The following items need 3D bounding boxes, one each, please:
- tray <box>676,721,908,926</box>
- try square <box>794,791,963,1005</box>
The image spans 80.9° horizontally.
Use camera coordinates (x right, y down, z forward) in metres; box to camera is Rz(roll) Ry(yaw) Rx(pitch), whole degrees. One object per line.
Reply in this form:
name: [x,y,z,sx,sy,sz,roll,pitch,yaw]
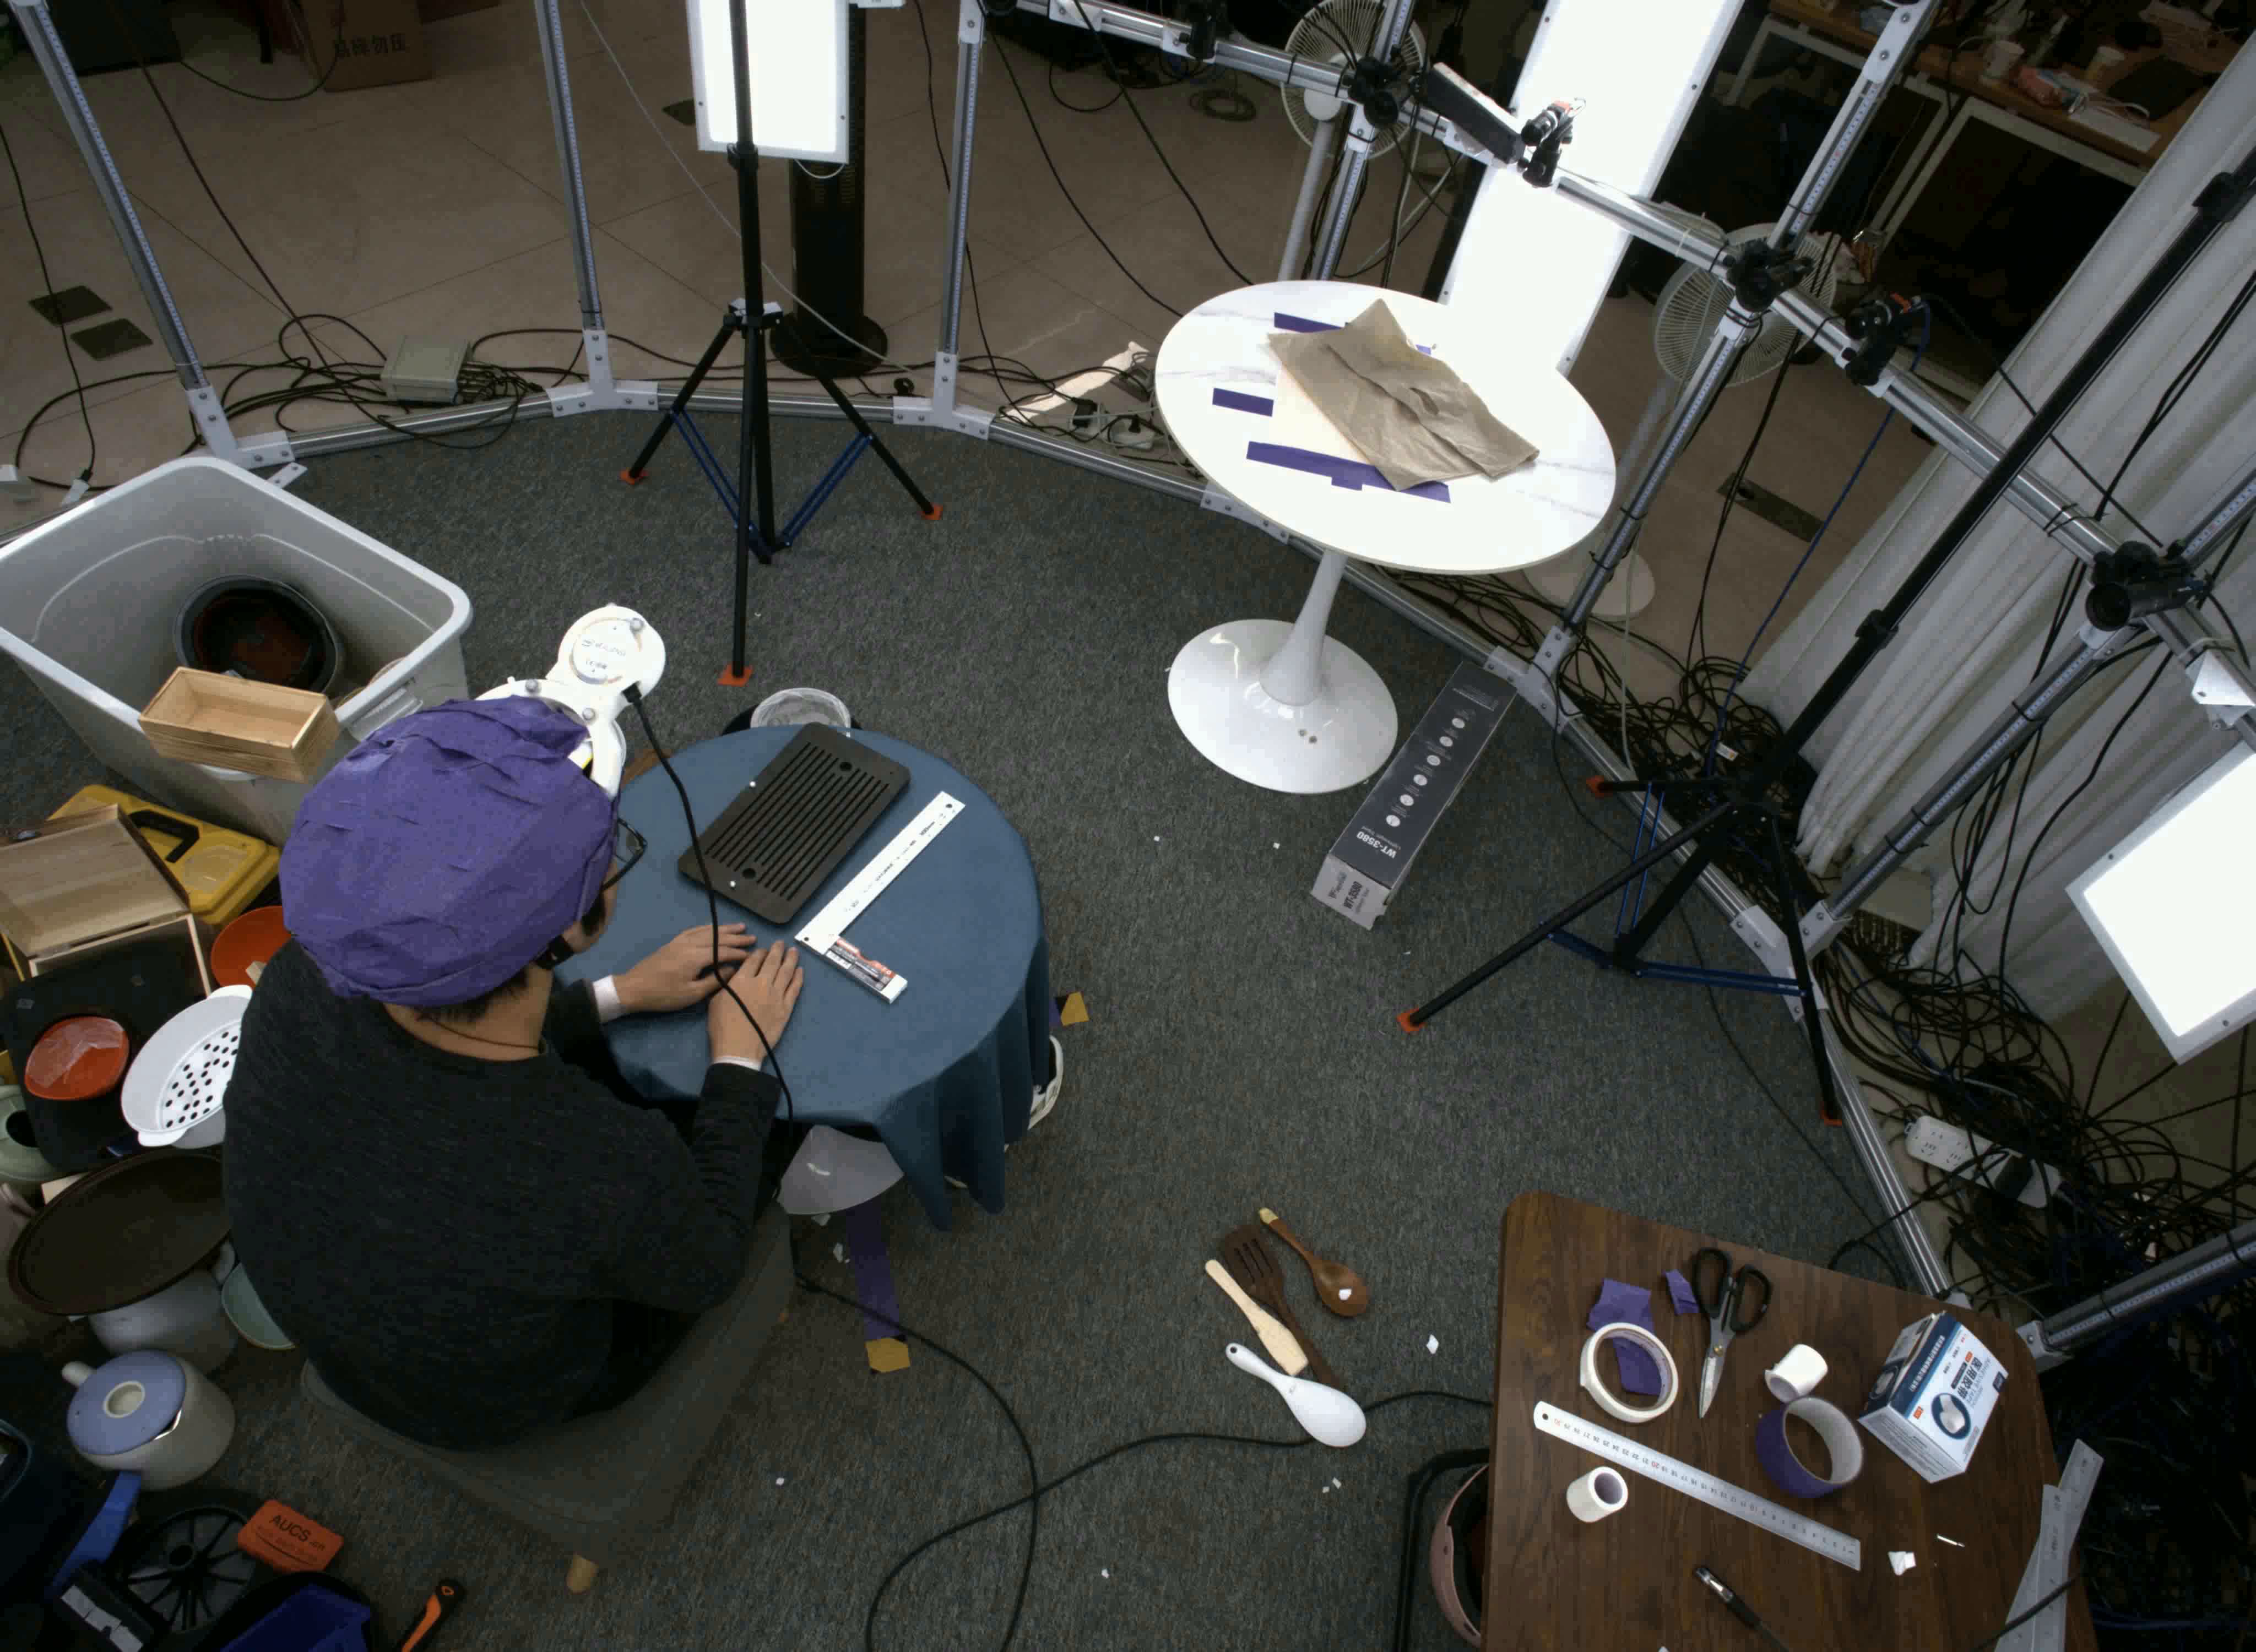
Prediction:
tray: [-0.438,-0.010,1.711,0.168,0.019,0.304,28,52,6]
try square: [-0.276,0.083,1.690,0.149,0.016,0.312,32,52,10]
